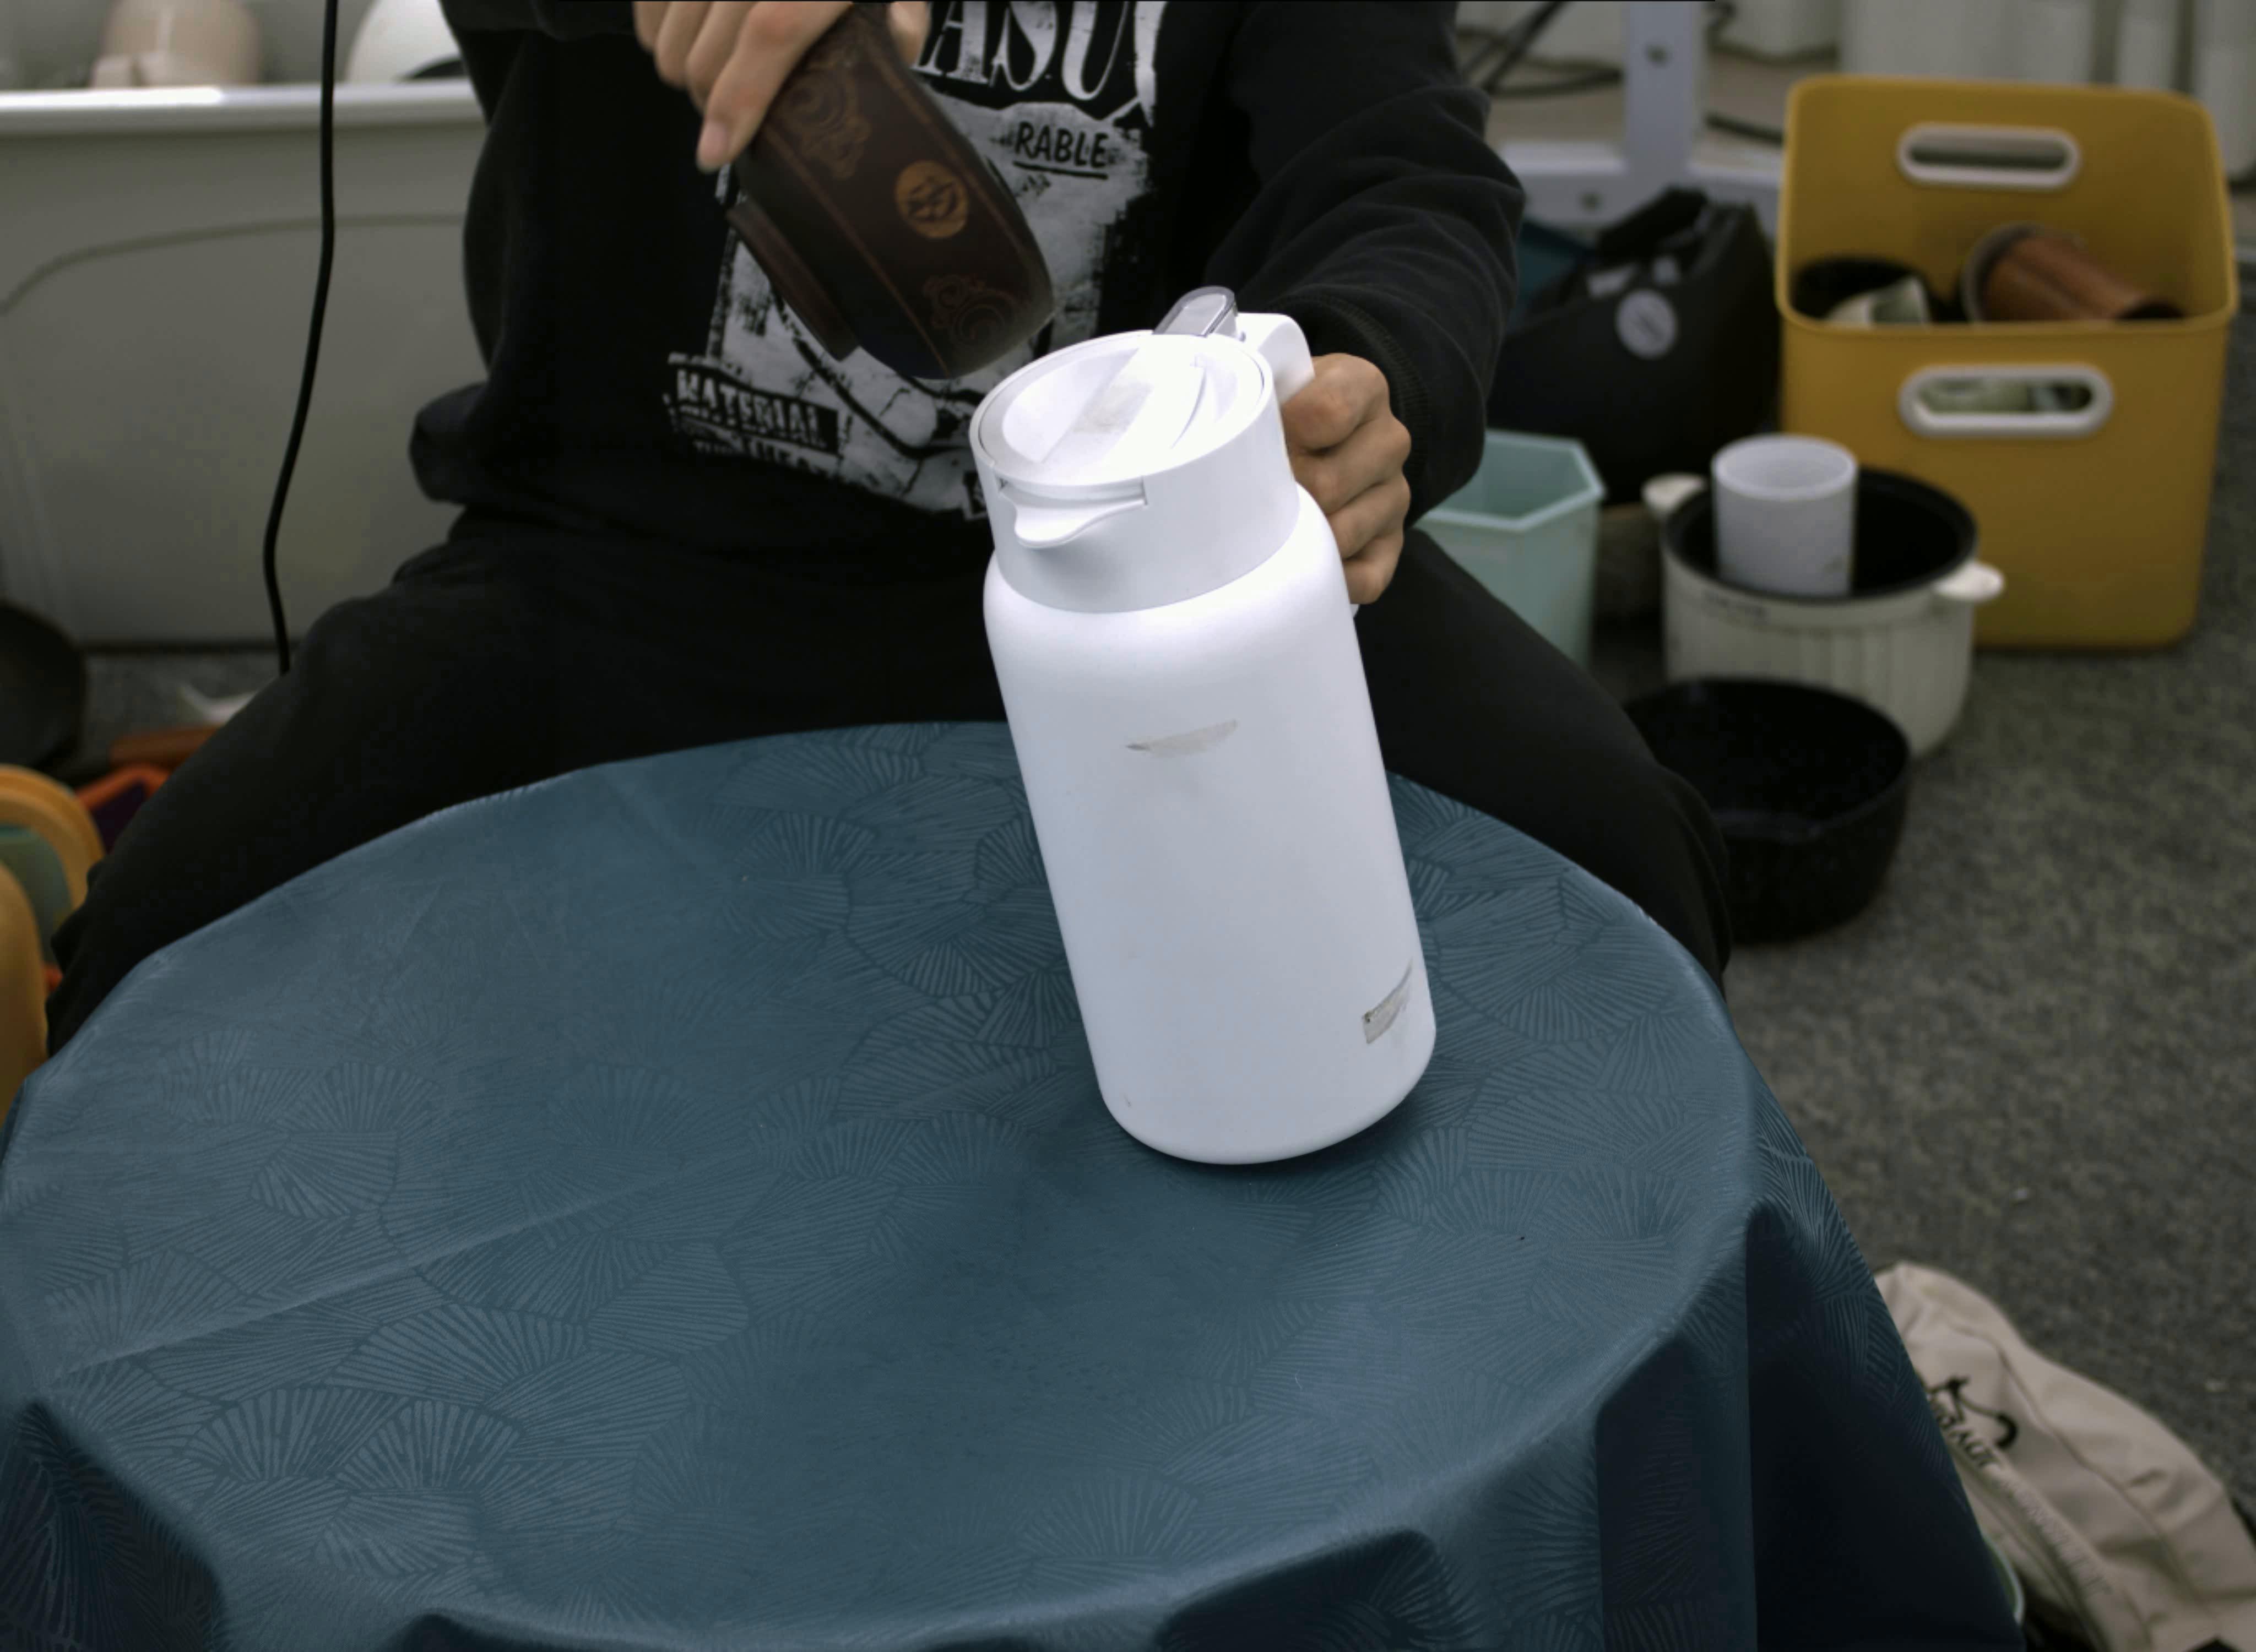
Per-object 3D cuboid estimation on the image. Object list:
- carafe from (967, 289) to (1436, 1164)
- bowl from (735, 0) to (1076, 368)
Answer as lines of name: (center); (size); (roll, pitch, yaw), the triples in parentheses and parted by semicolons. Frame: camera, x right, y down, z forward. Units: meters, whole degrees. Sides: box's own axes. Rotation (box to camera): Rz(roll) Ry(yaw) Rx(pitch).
carafe: (0.028, -0.036, 1.857); (0.123, 0.266, 0.176); (1, 33, 27)
bowl: (-0.077, -0.190, 1.732); (0.070, 0.117, 0.119); (-37, 34, -5)
